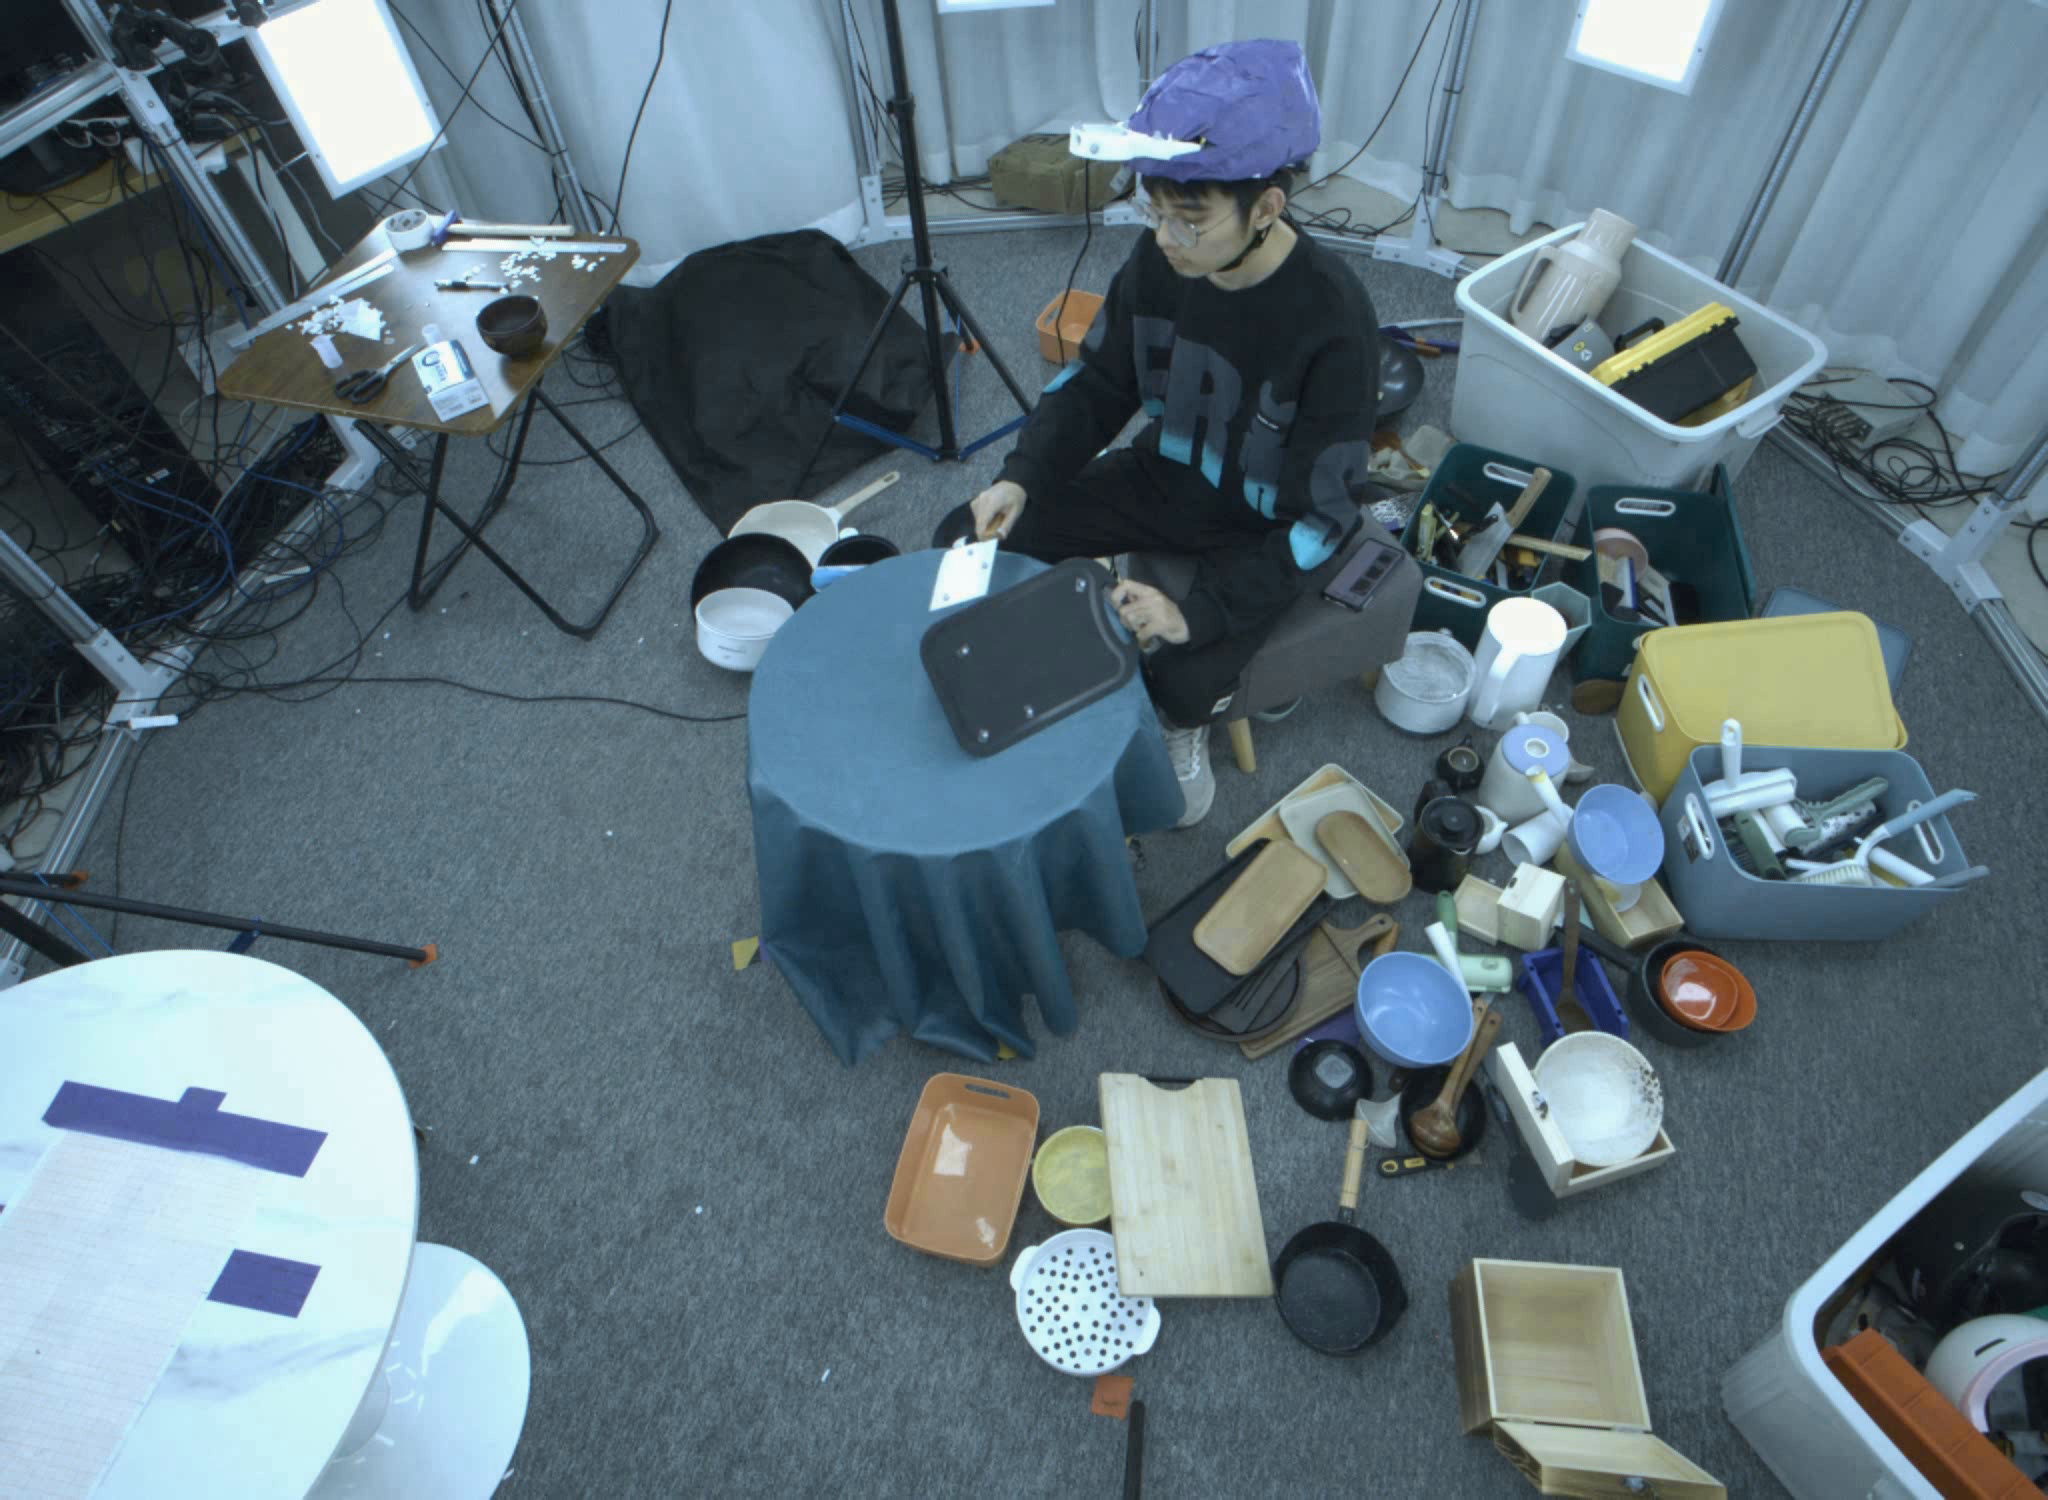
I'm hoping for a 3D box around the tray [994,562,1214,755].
[{"bbox_3d":[0.125,-0.136,1.775,0.328,0.213,0.009,-23,17,-13],"label":"tray"}]

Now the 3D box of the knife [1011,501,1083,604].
[{"bbox_3d":[0.033,-0.299,1.851,0.092,0.021,0.304,-11,32,18],"label":"knife"}]
